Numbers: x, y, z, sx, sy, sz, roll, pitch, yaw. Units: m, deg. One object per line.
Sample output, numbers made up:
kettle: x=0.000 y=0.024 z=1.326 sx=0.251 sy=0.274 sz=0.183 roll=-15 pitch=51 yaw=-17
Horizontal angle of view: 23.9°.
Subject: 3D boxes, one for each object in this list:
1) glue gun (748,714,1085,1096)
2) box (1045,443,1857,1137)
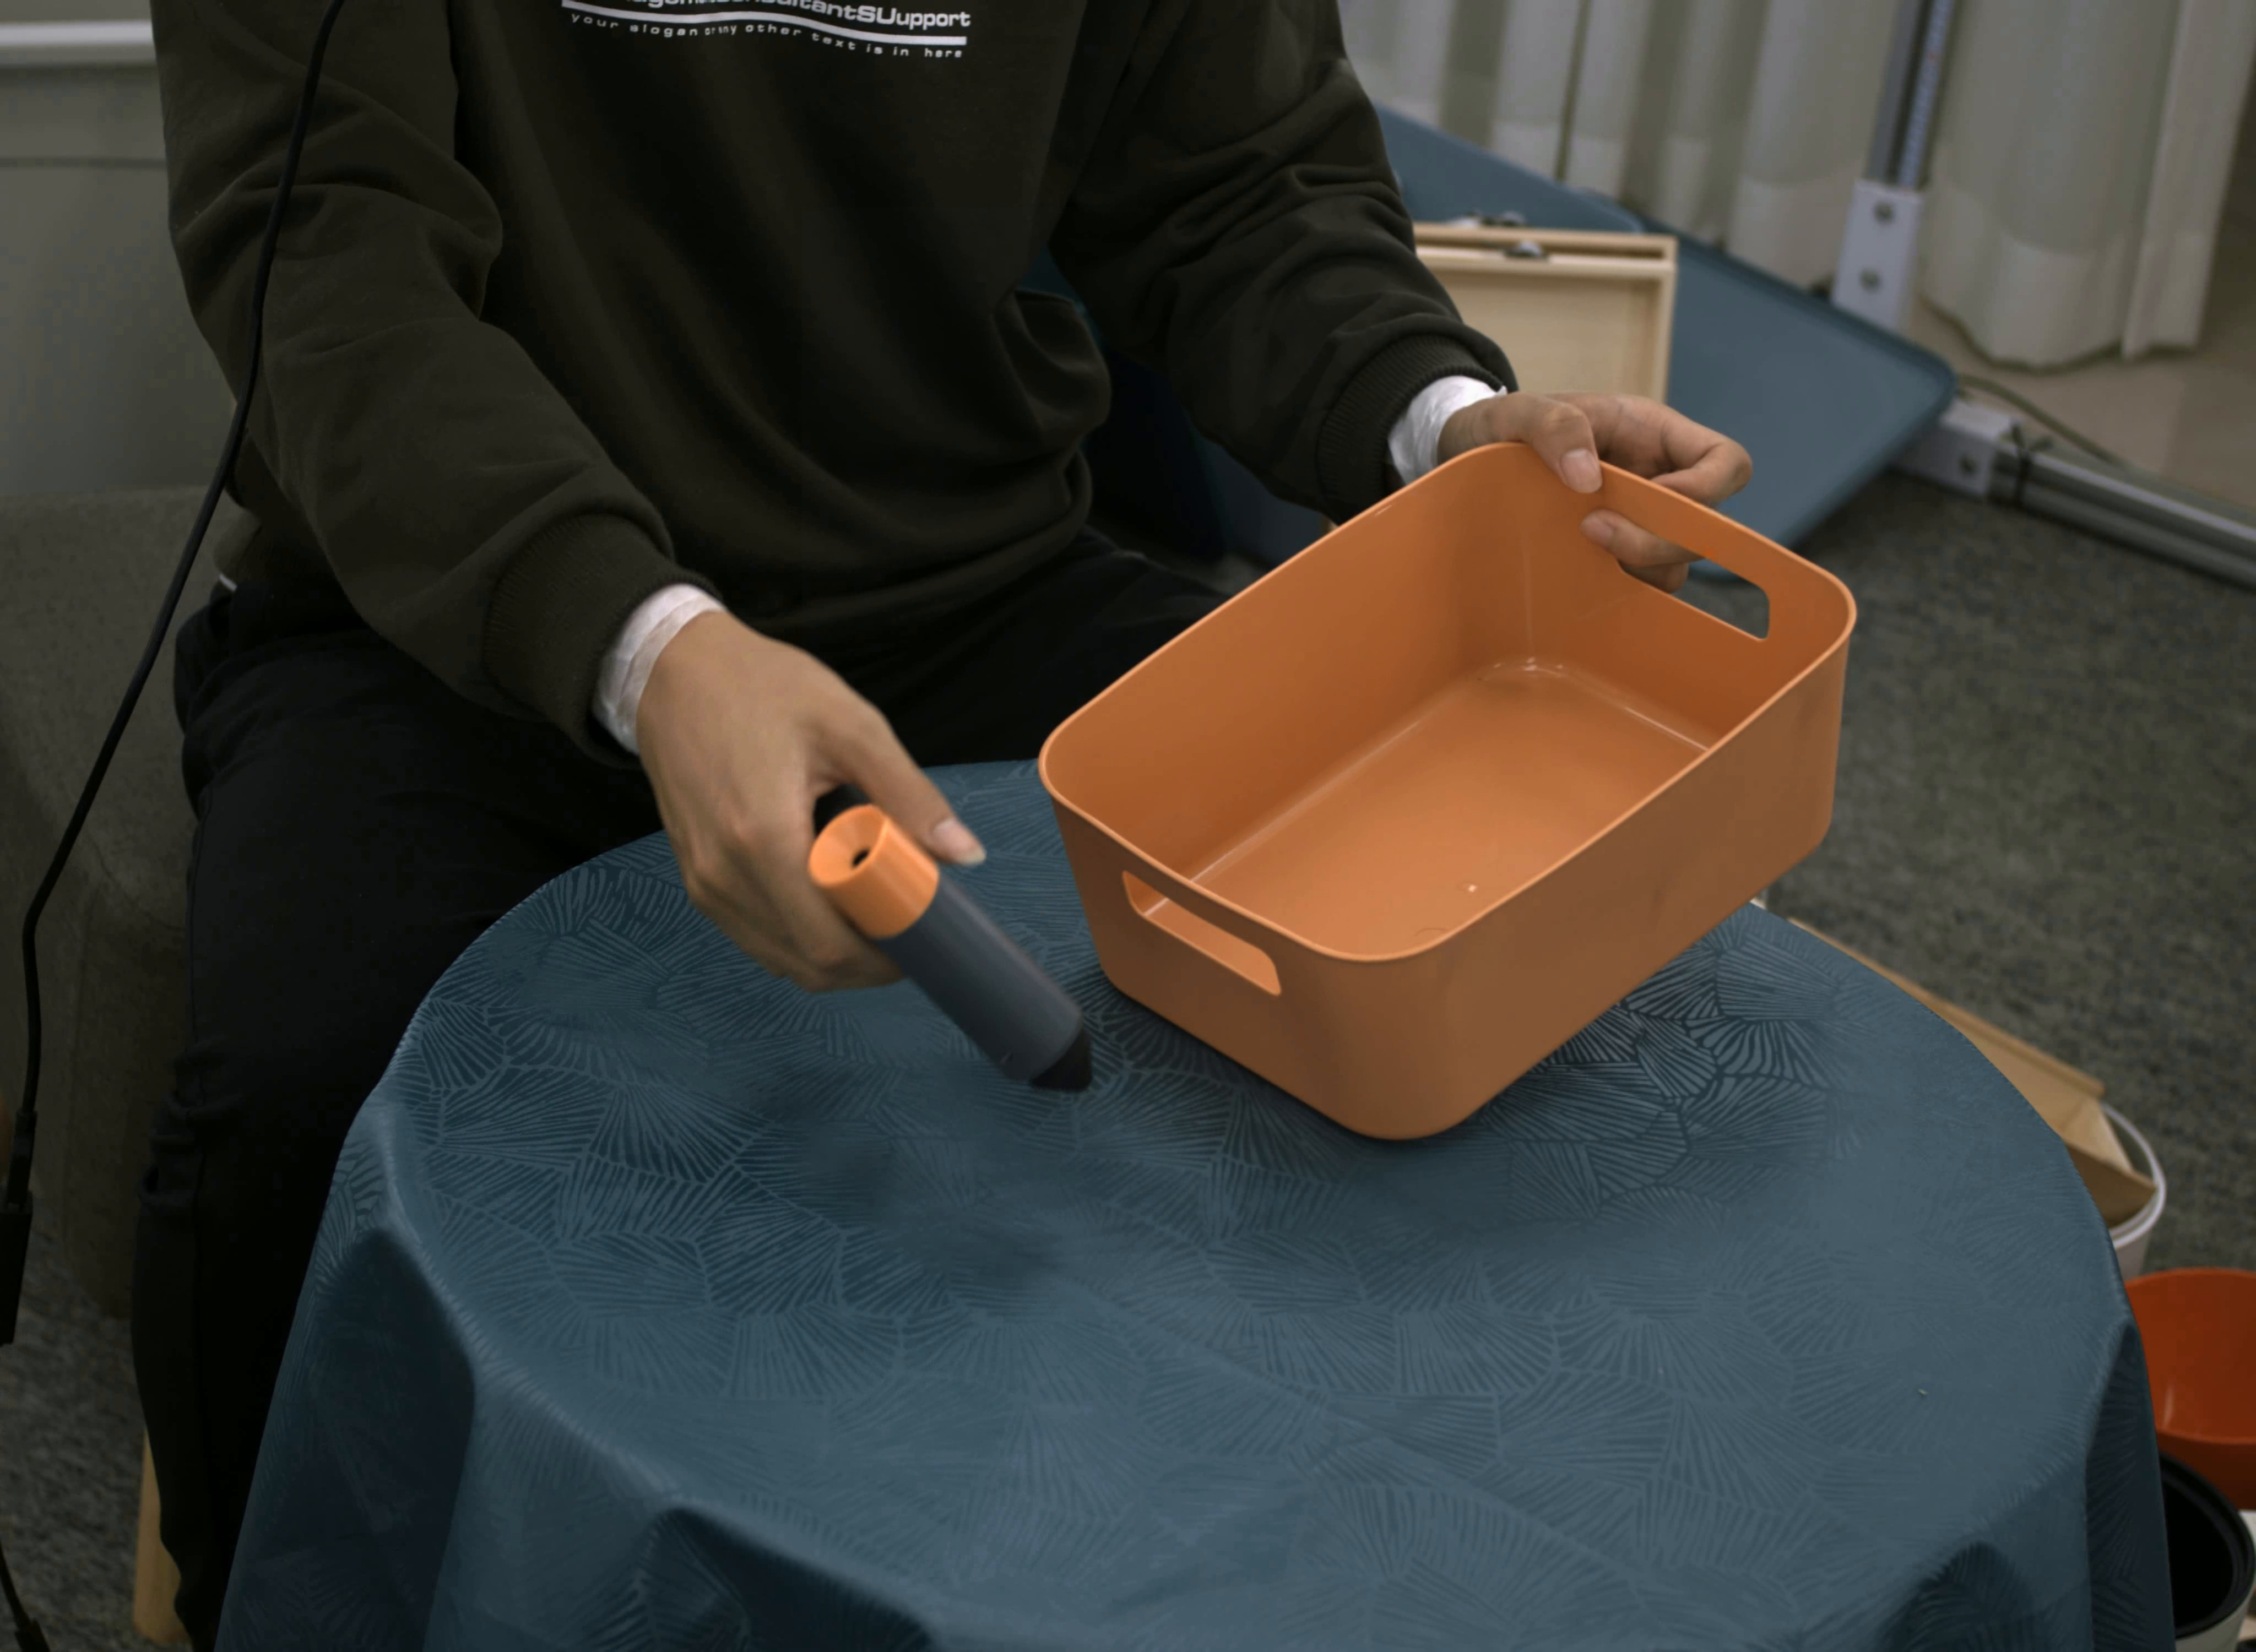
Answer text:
glue gun: x=-0.071 y=0.026 z=1.792 sx=0.041 sy=0.117 sz=0.141 roll=-40 pitch=37 yaw=-2
box: x=0.120 y=-0.013 z=1.927 sx=0.272 sy=0.102 sz=0.201 roll=-35 pitch=45 yaw=-29
